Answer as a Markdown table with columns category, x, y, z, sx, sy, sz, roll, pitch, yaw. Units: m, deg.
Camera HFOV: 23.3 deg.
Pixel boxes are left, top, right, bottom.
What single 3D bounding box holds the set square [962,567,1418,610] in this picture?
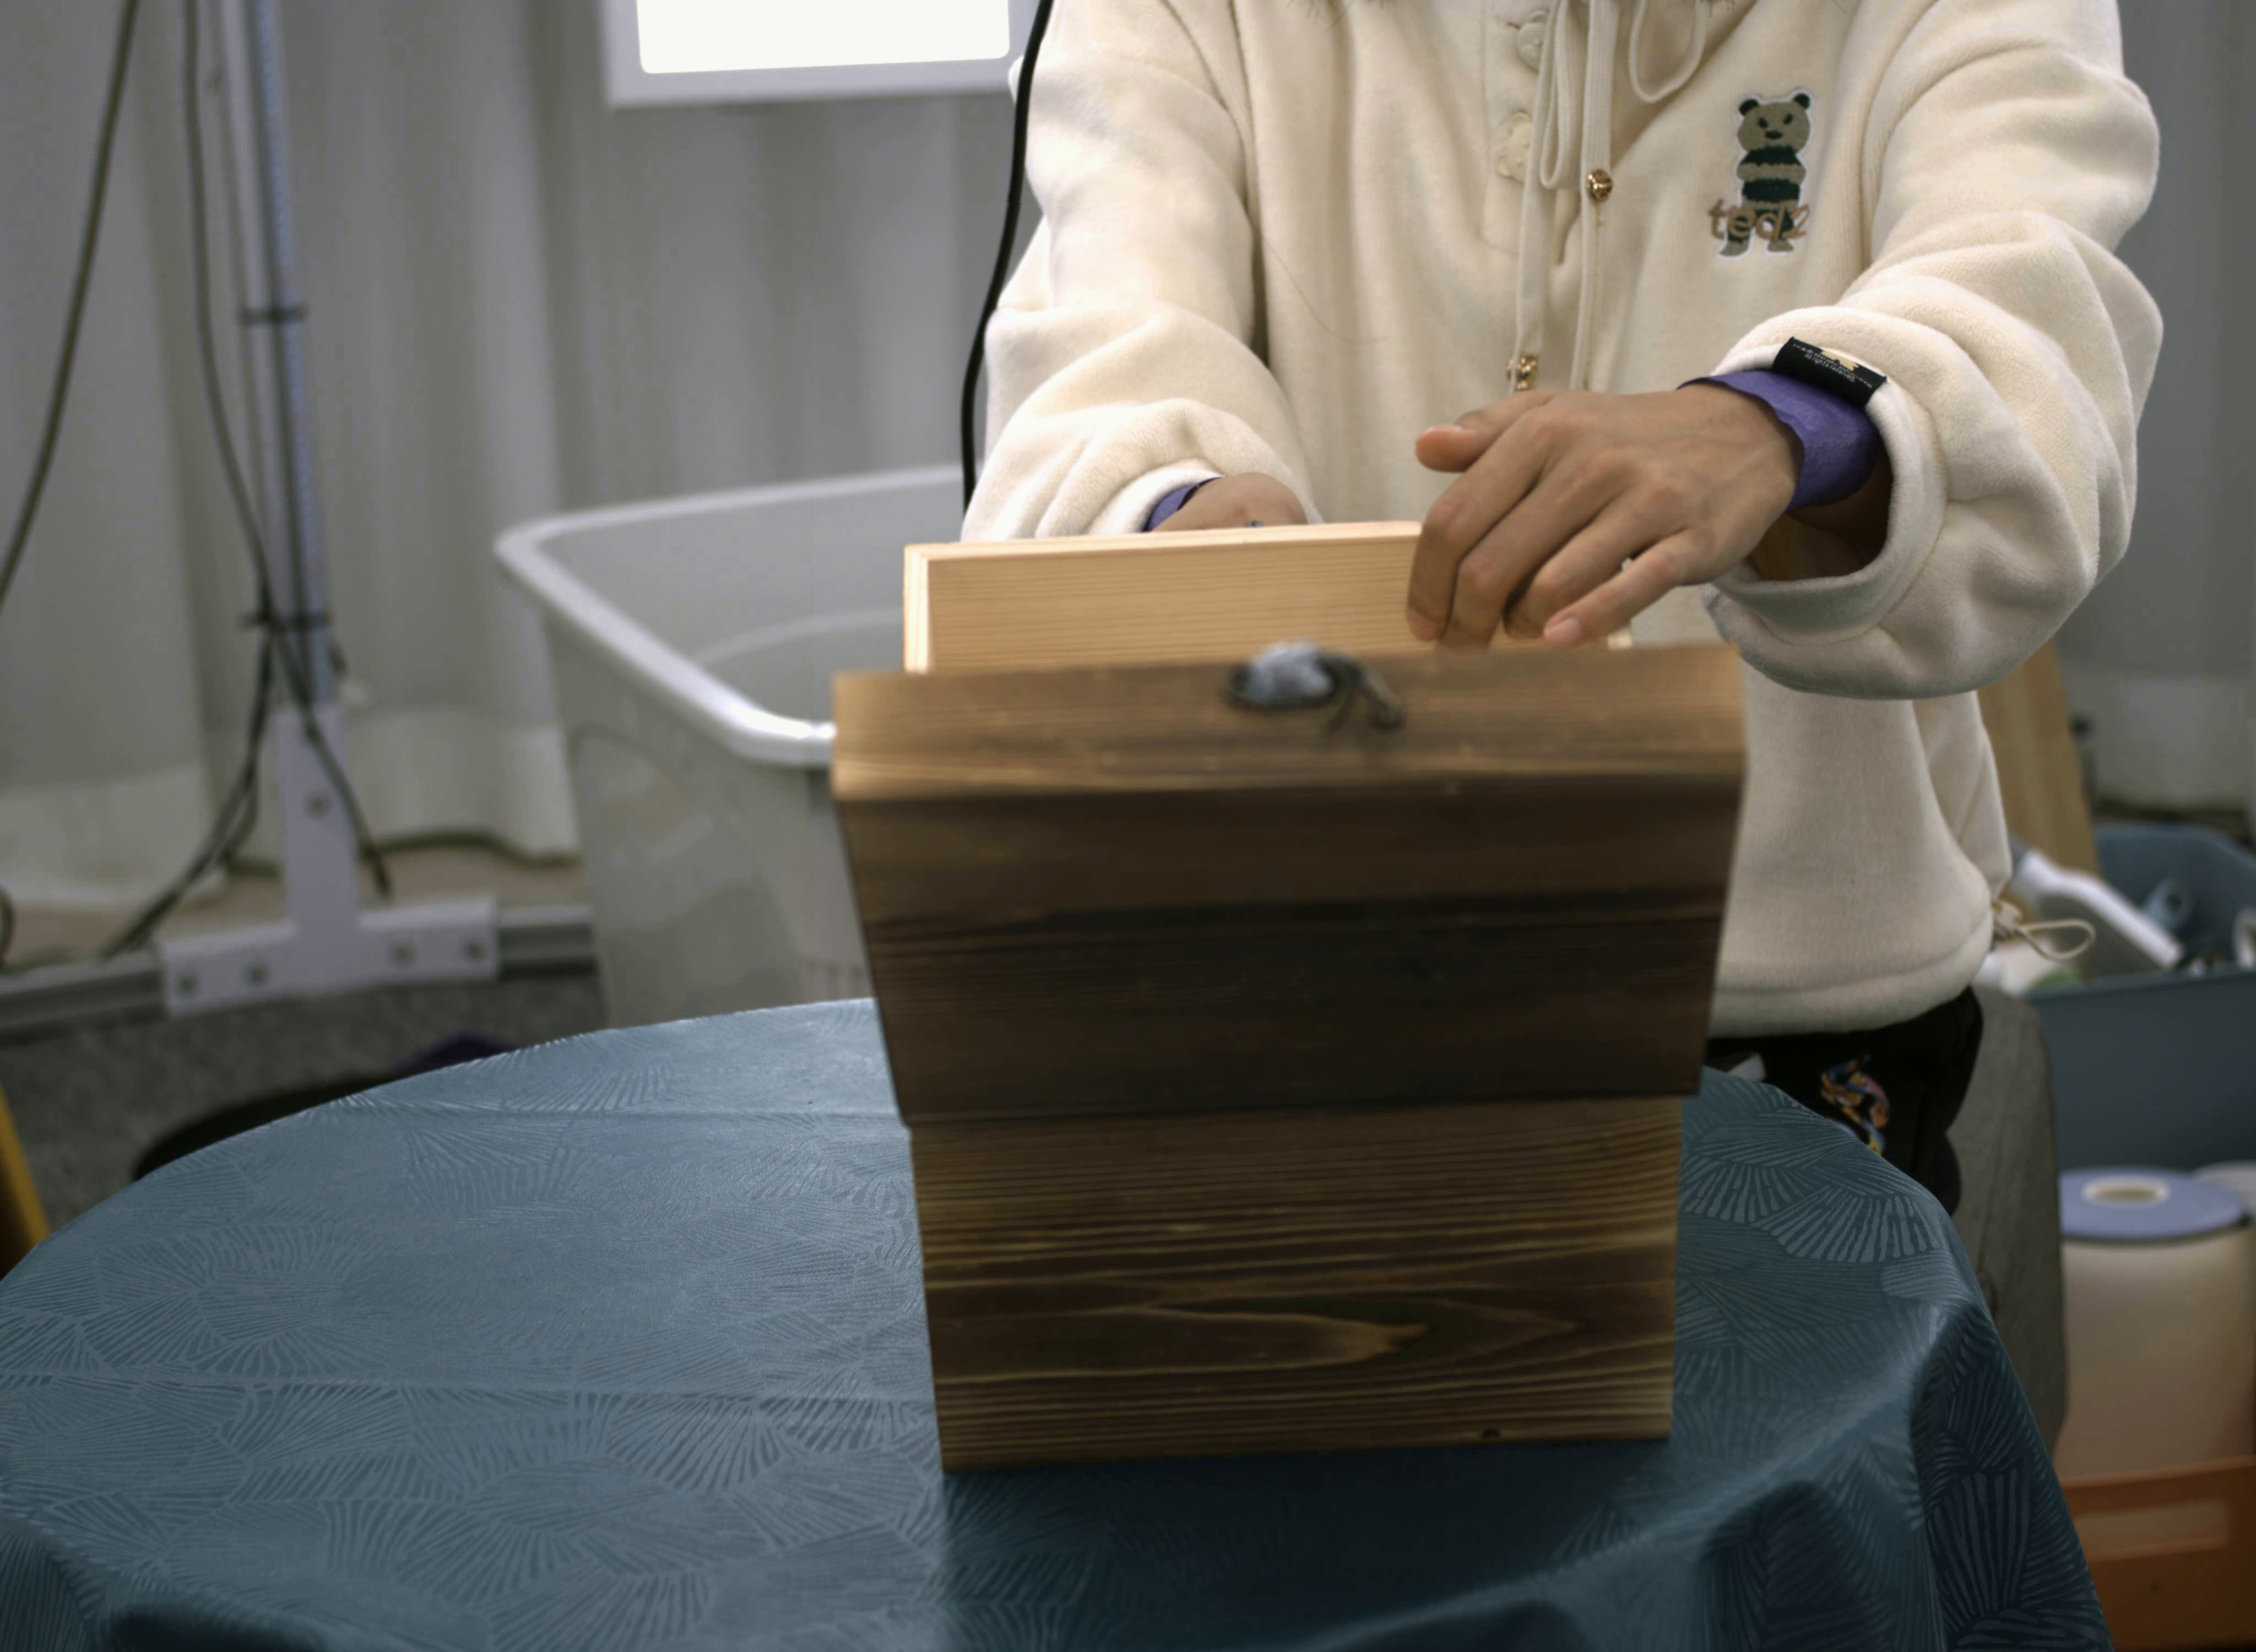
| category | x | y | z | sx | sy | sz | roll | pitch | yaw |
| --- | --- | --- | --- | --- | --- | --- | --- | --- | --- |
| set square | 0.019 | -0.068 | 1.588 | 0.131 | 0.006 | 0.061 | -2 | -8 | 4 |

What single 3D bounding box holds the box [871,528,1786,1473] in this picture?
| category | x | y | z | sx | sy | sz | roll | pitch | yaw |
| --- | --- | --- | --- | --- | --- | --- | --- | --- | --- |
| box | 0.043 | 0.004 | 1.416 | 0.208 | 0.371 | 0.327 | -2 | 39 | 0 |
